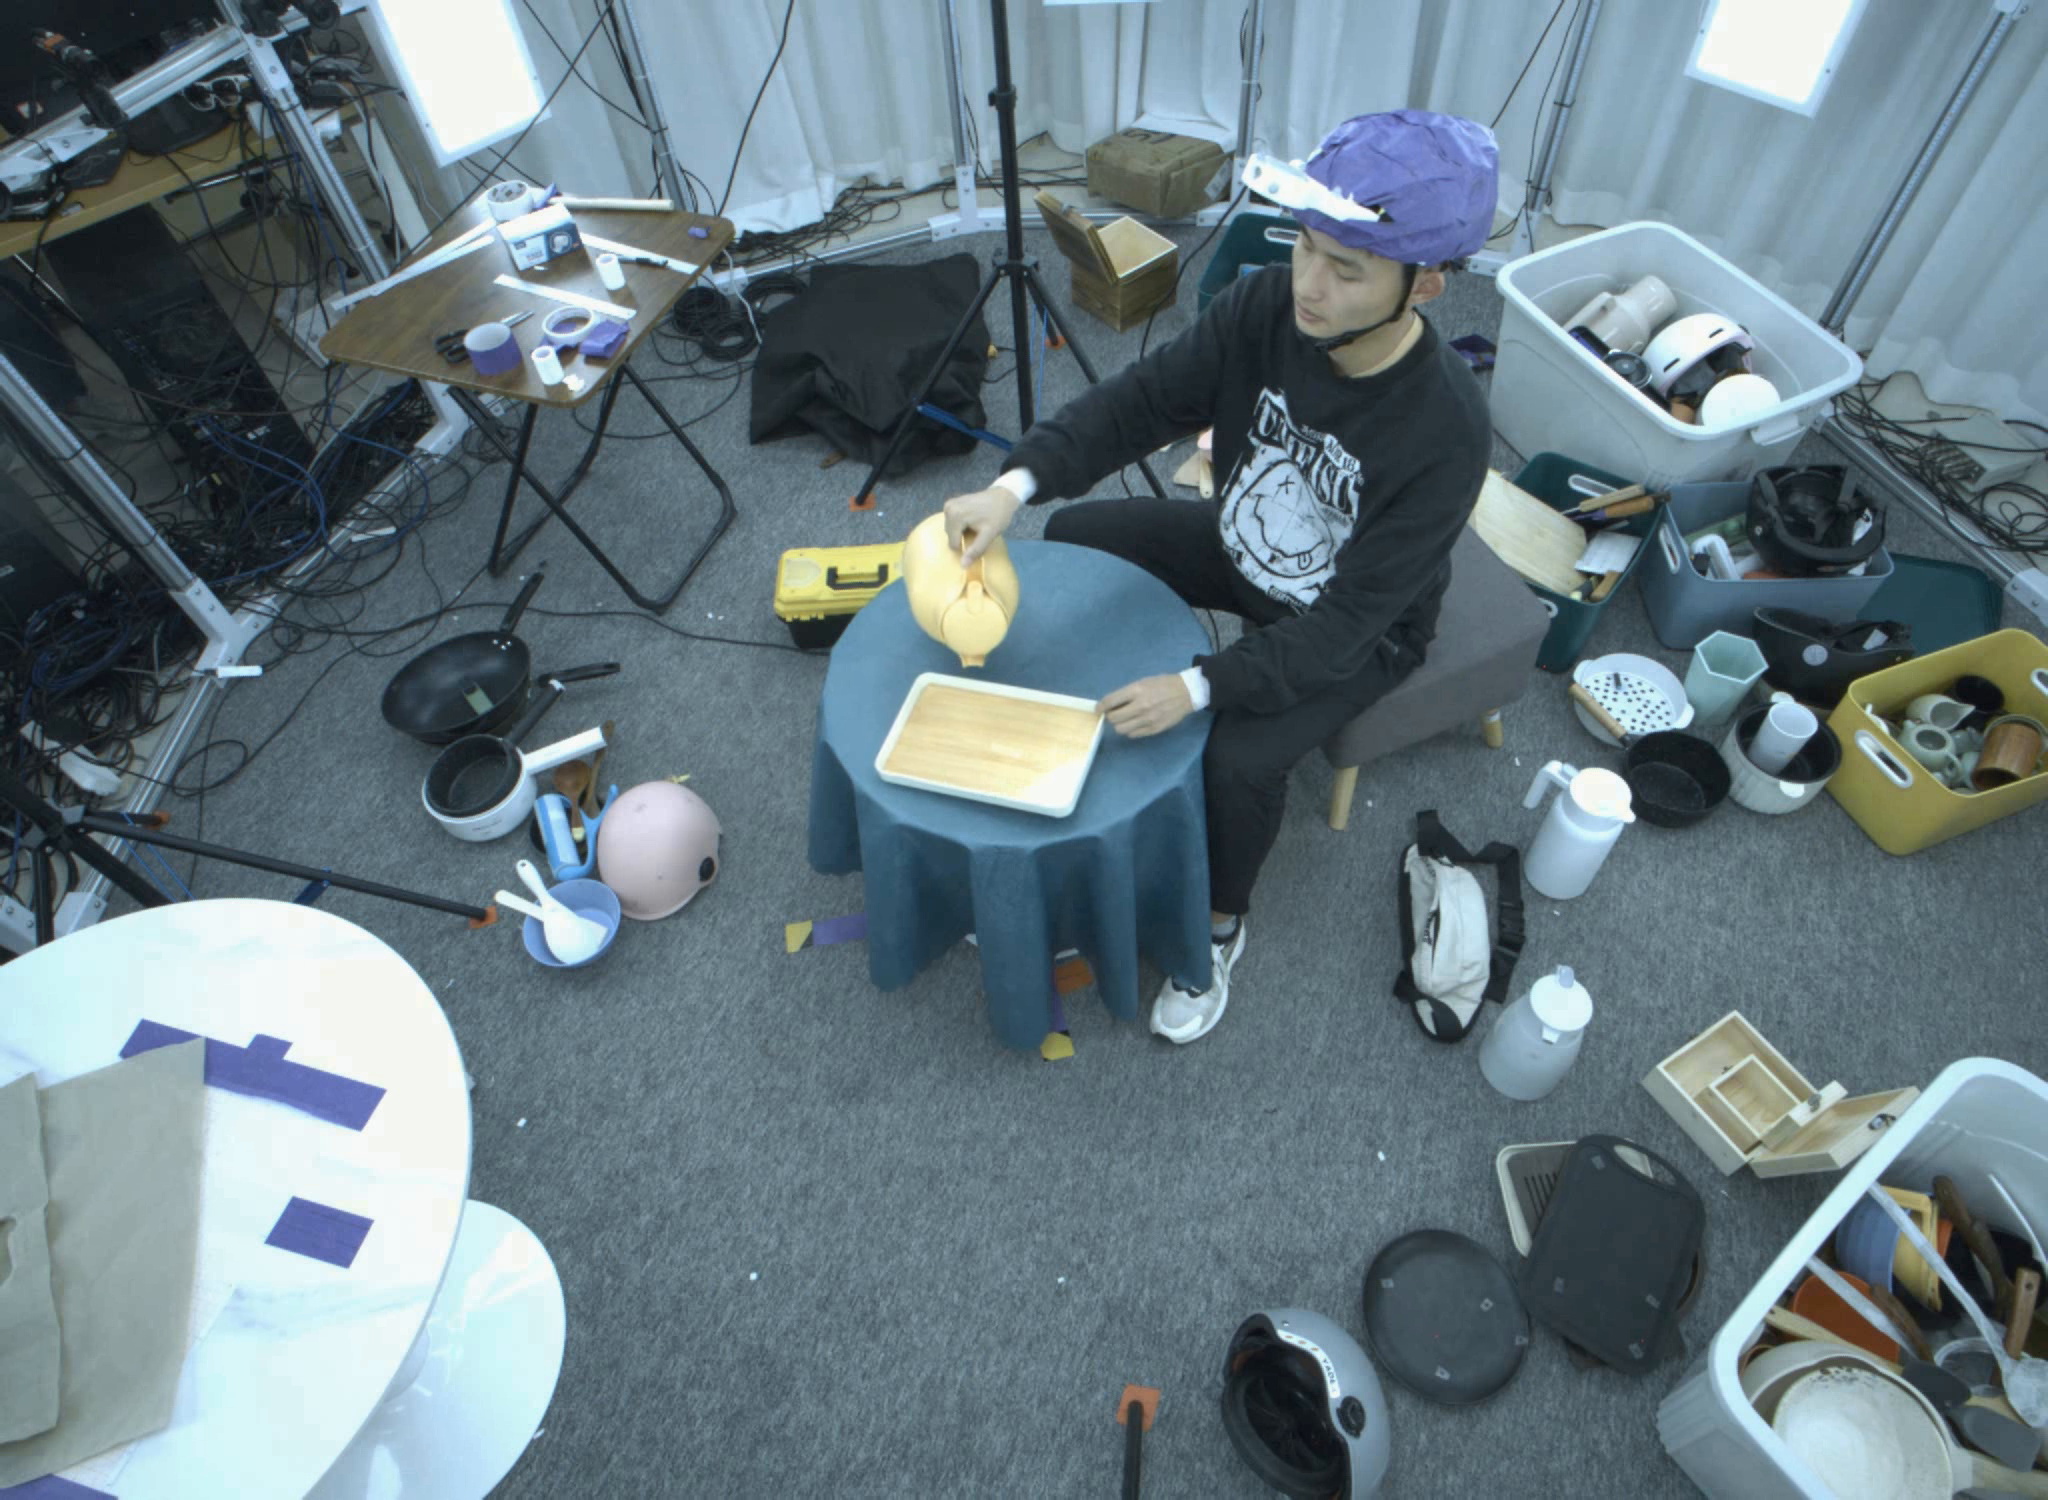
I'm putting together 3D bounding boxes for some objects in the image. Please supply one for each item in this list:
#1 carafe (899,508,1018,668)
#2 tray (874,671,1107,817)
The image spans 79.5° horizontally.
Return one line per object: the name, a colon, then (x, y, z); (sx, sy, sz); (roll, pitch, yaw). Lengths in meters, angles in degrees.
carafe: (-0.088, -0.250, 1.760); (0.165, 0.204, 0.256); (-3, 35, -13)
tray: (-0.047, -0.013, 1.758); (0.296, 0.028, 0.191); (11, 57, 16)
